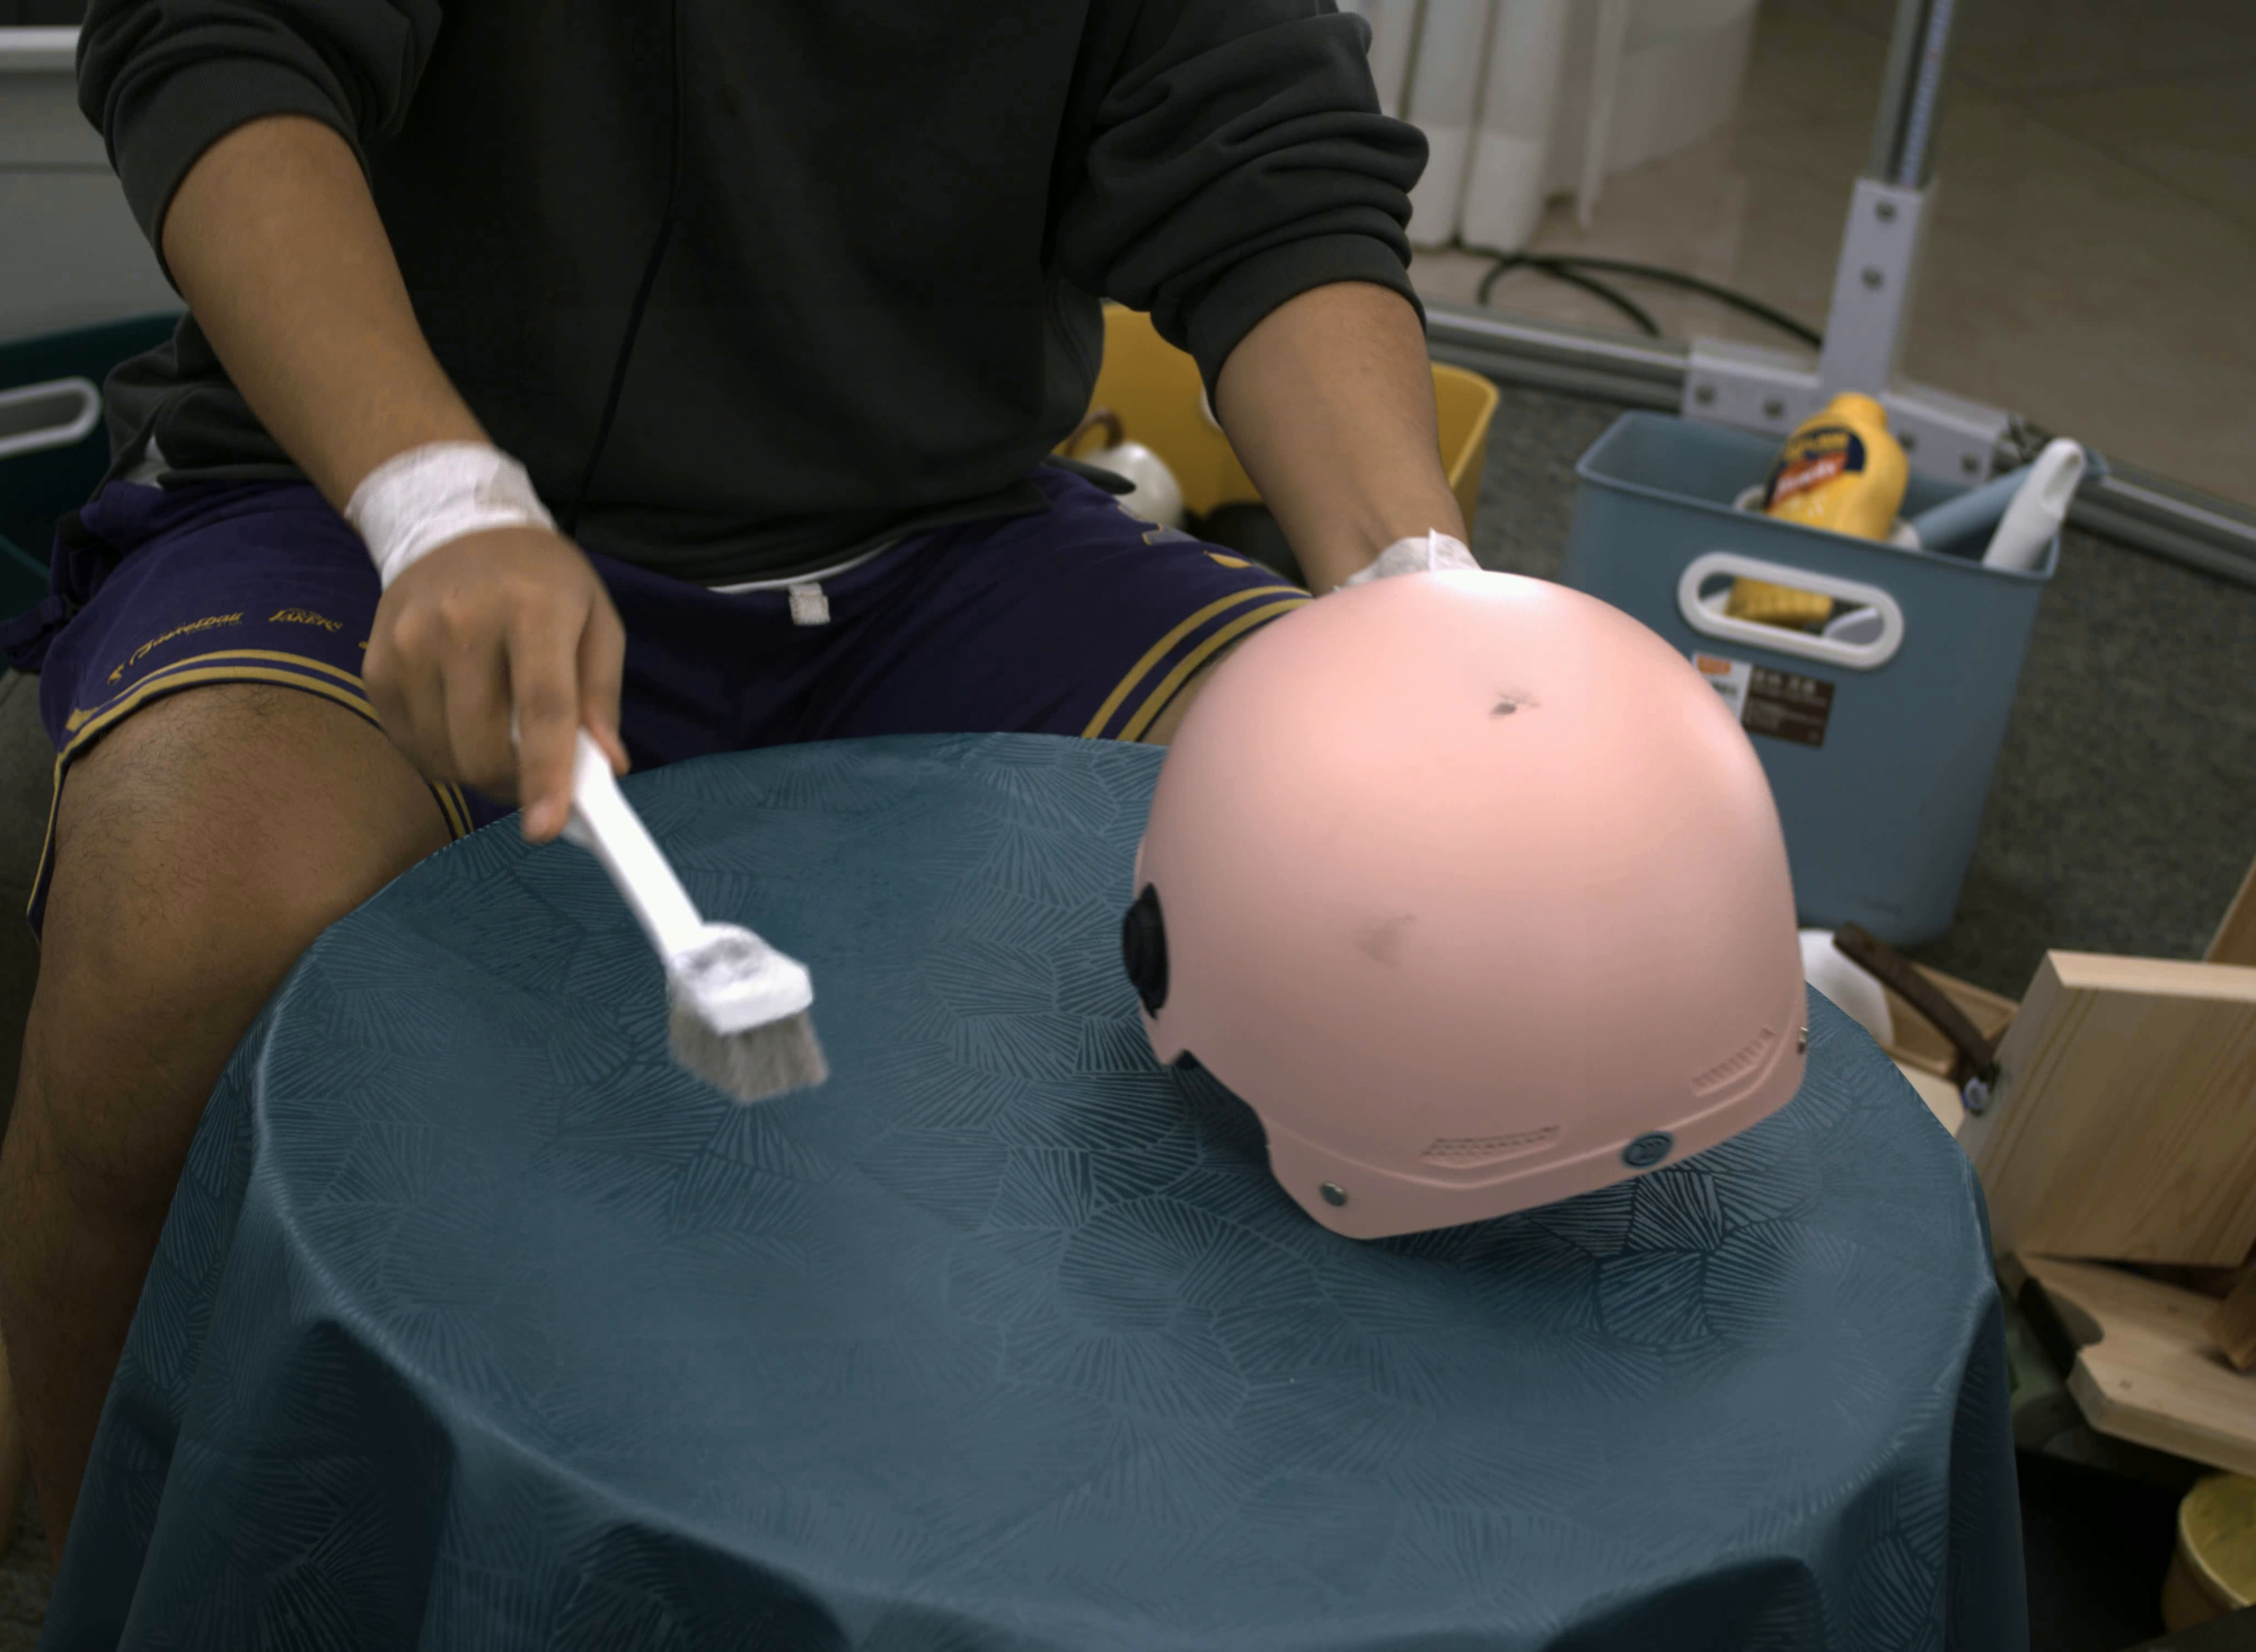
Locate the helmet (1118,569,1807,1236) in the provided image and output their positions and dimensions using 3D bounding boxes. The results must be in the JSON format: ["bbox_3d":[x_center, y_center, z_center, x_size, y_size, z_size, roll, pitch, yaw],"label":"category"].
[{"bbox_3d":[0.111,-0.001,1.819,0.233,0.158,0.268,-19,43,-14],"label":"helmet"}]

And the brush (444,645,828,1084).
[{"bbox_3d":[-0.162,0.013,1.706,0.034,0.050,0.246,-19,36,-23],"label":"brush"}]
